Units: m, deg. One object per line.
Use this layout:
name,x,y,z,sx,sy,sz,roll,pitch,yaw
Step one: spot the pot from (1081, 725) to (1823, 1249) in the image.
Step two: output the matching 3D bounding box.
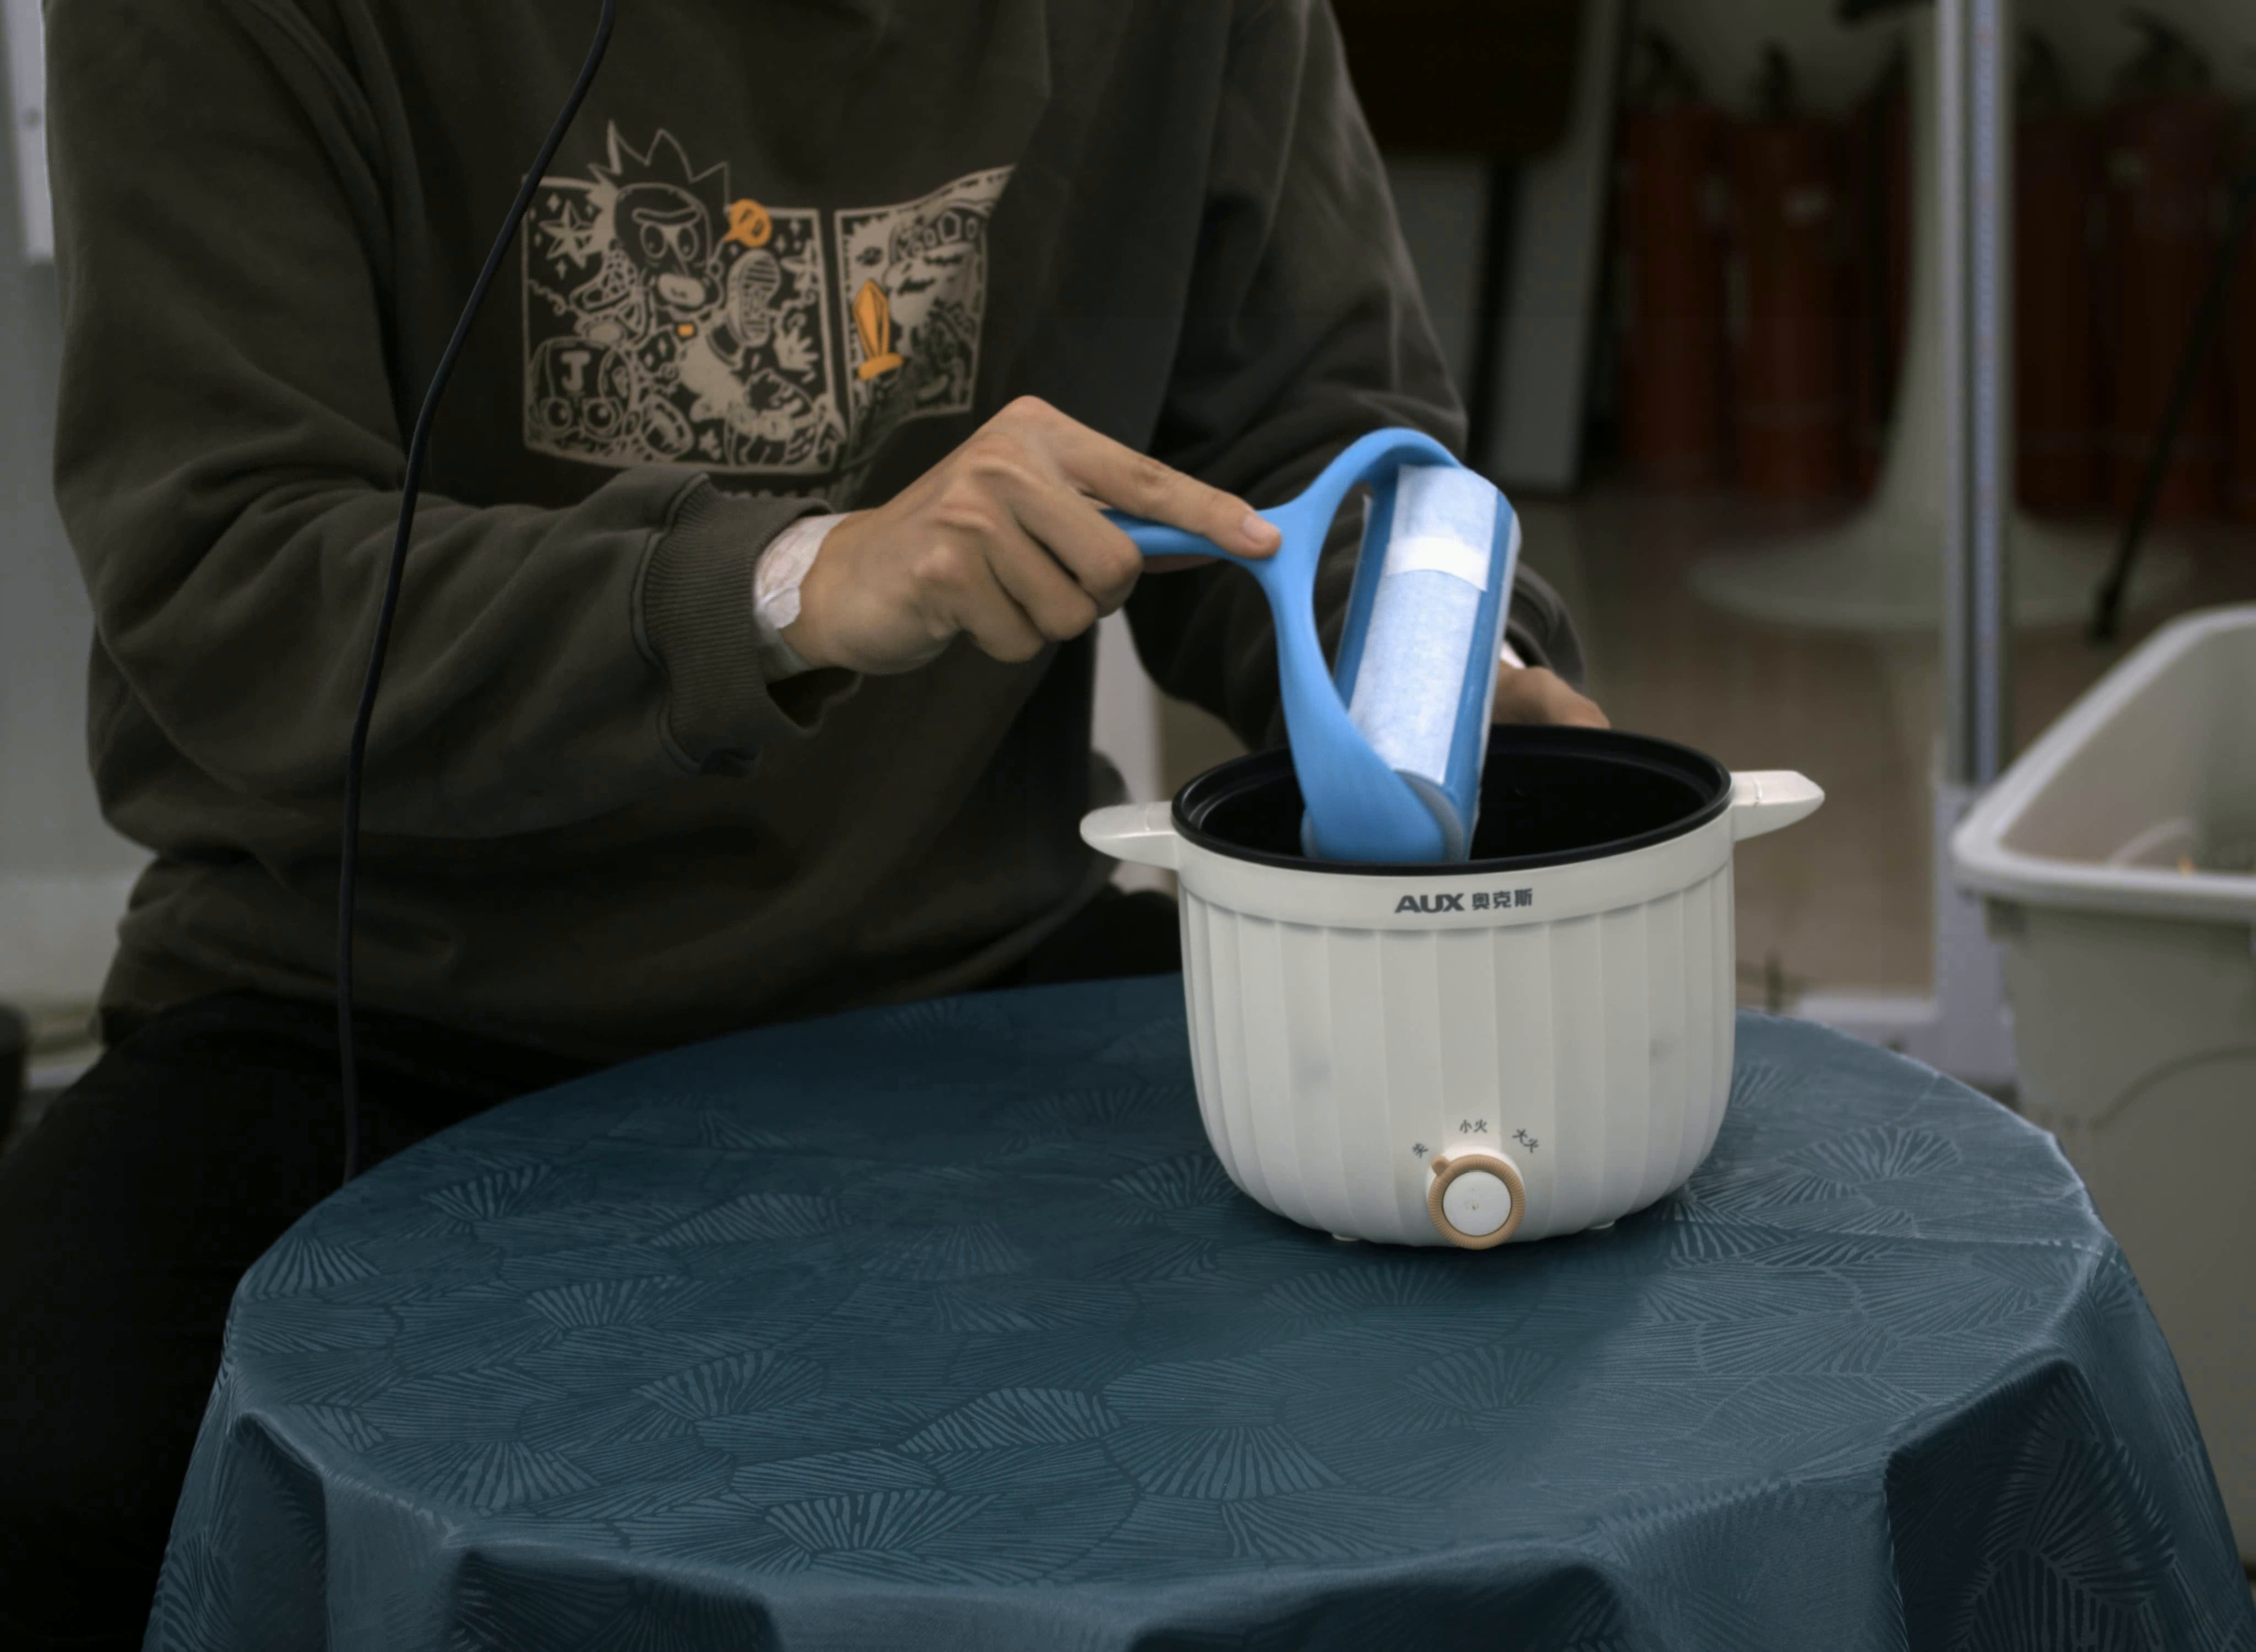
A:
pot,0.108,0.054,1.726,0.237,0.144,0.190,-5,10,3

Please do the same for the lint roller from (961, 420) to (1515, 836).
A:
lint roller,0.038,-0.069,1.750,0.178,0.068,0.229,19,36,-5
